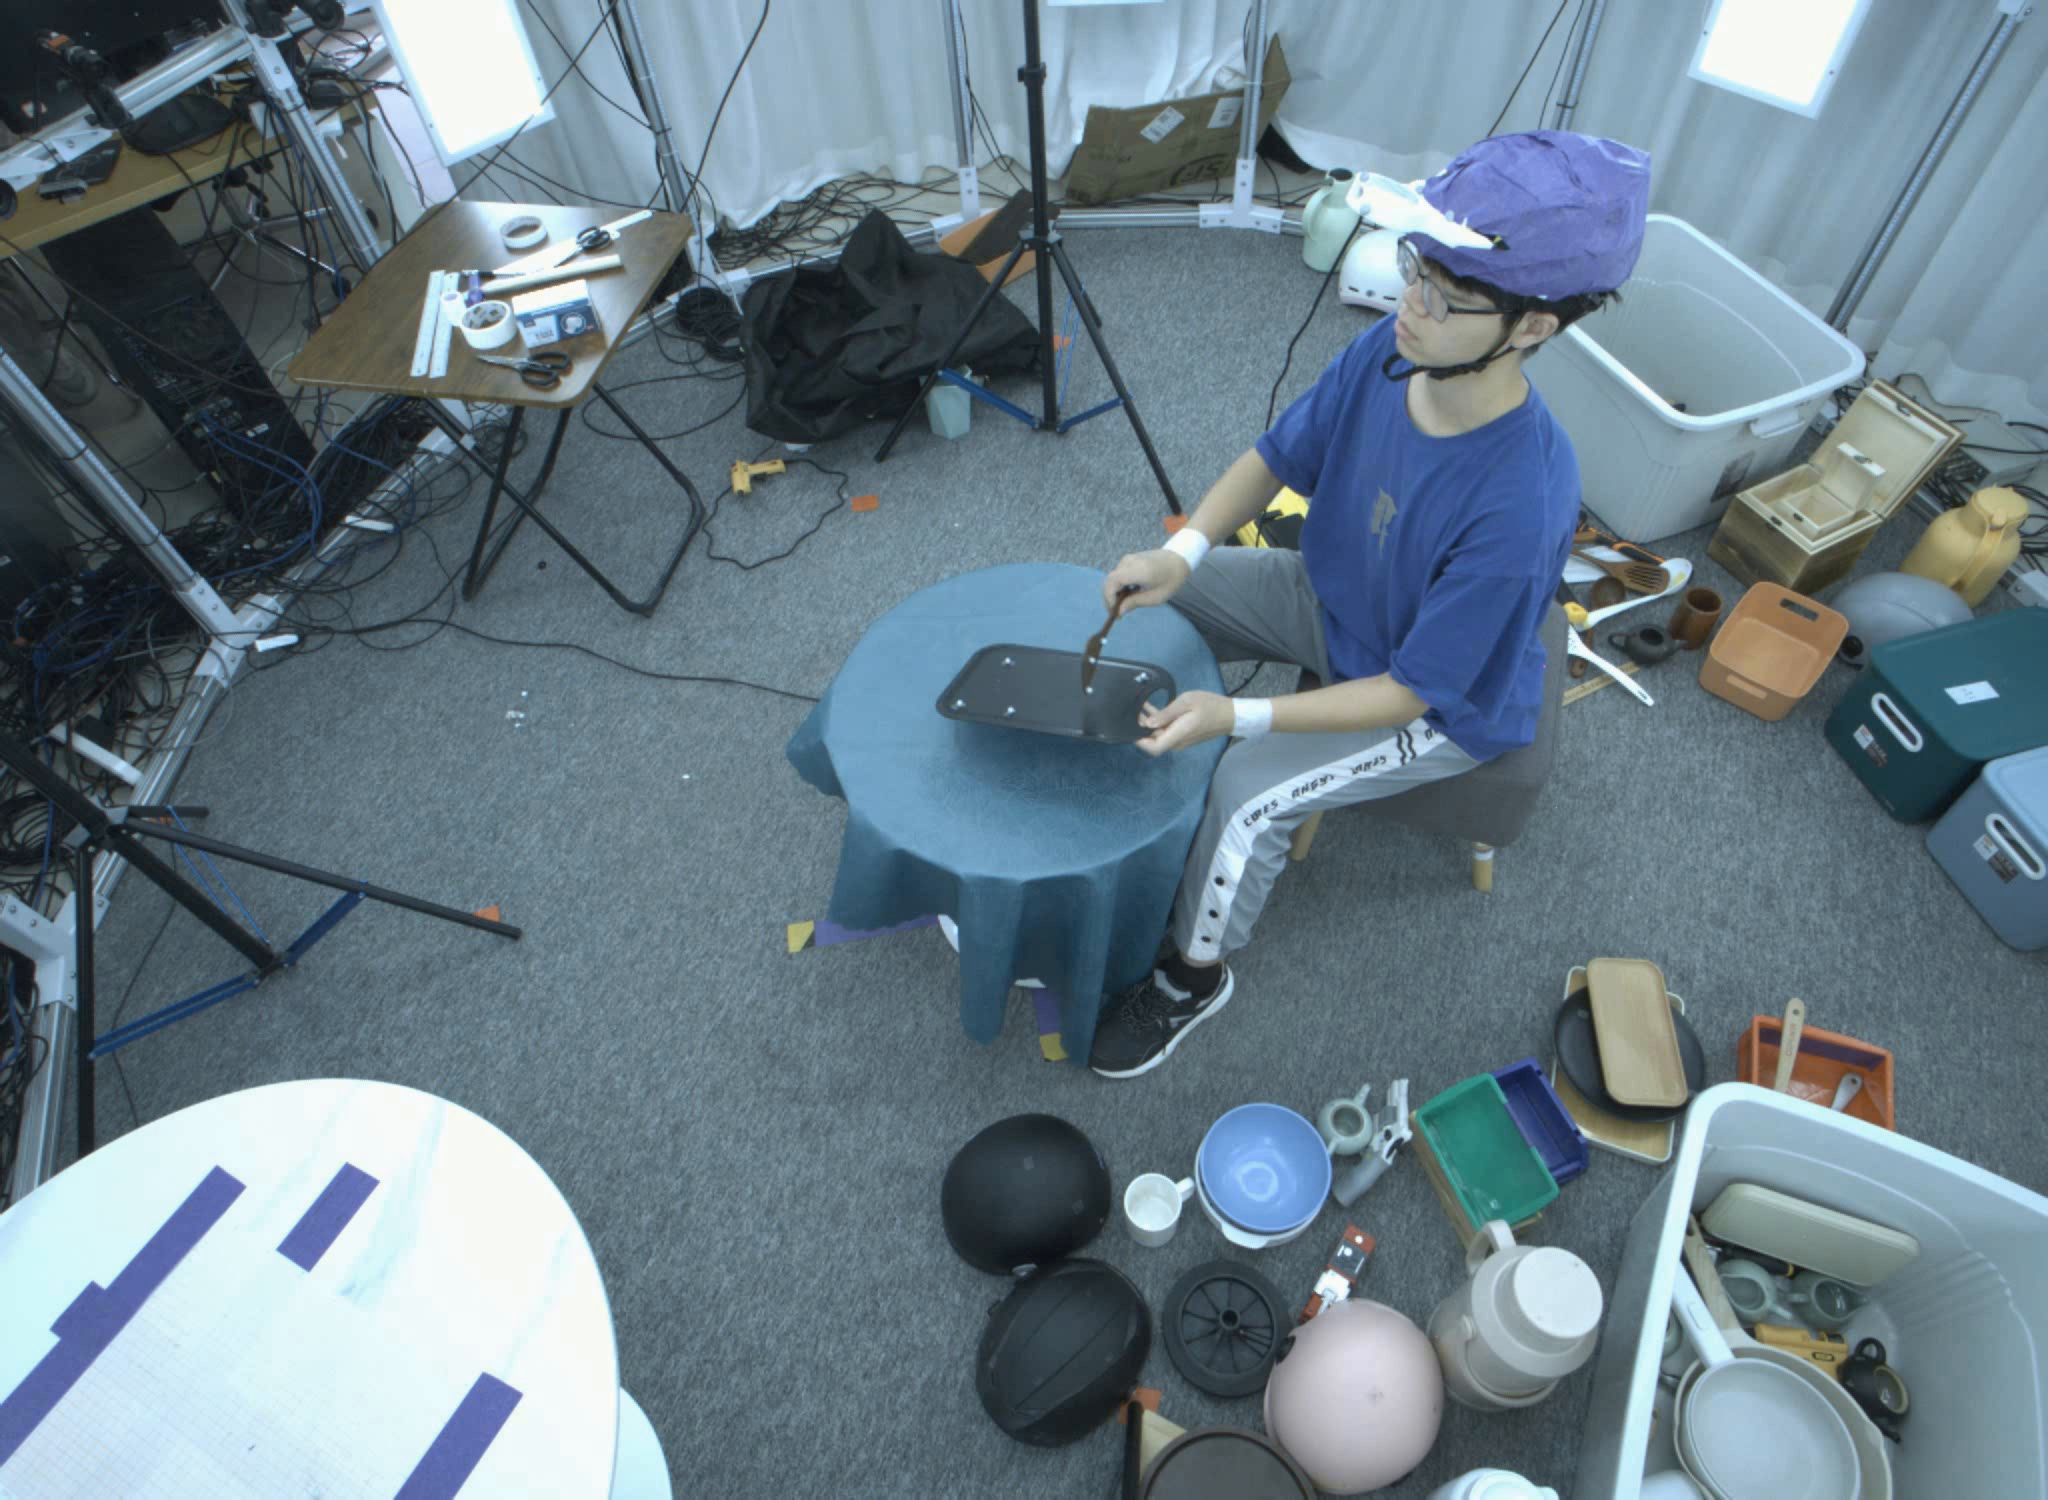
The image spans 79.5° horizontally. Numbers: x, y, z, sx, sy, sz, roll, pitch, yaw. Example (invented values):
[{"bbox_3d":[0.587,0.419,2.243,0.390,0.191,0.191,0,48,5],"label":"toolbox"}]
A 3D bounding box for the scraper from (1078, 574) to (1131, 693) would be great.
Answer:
[{"bbox_3d":[0.111,-0.171,1.705,0.010,0.077,0.211,14,52,19],"label":"scraper"}]

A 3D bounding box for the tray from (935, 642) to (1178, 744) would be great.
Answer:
[{"bbox_3d":[0.052,-0.084,1.720,0.321,0.010,0.211,10,38,19],"label":"tray"}]
